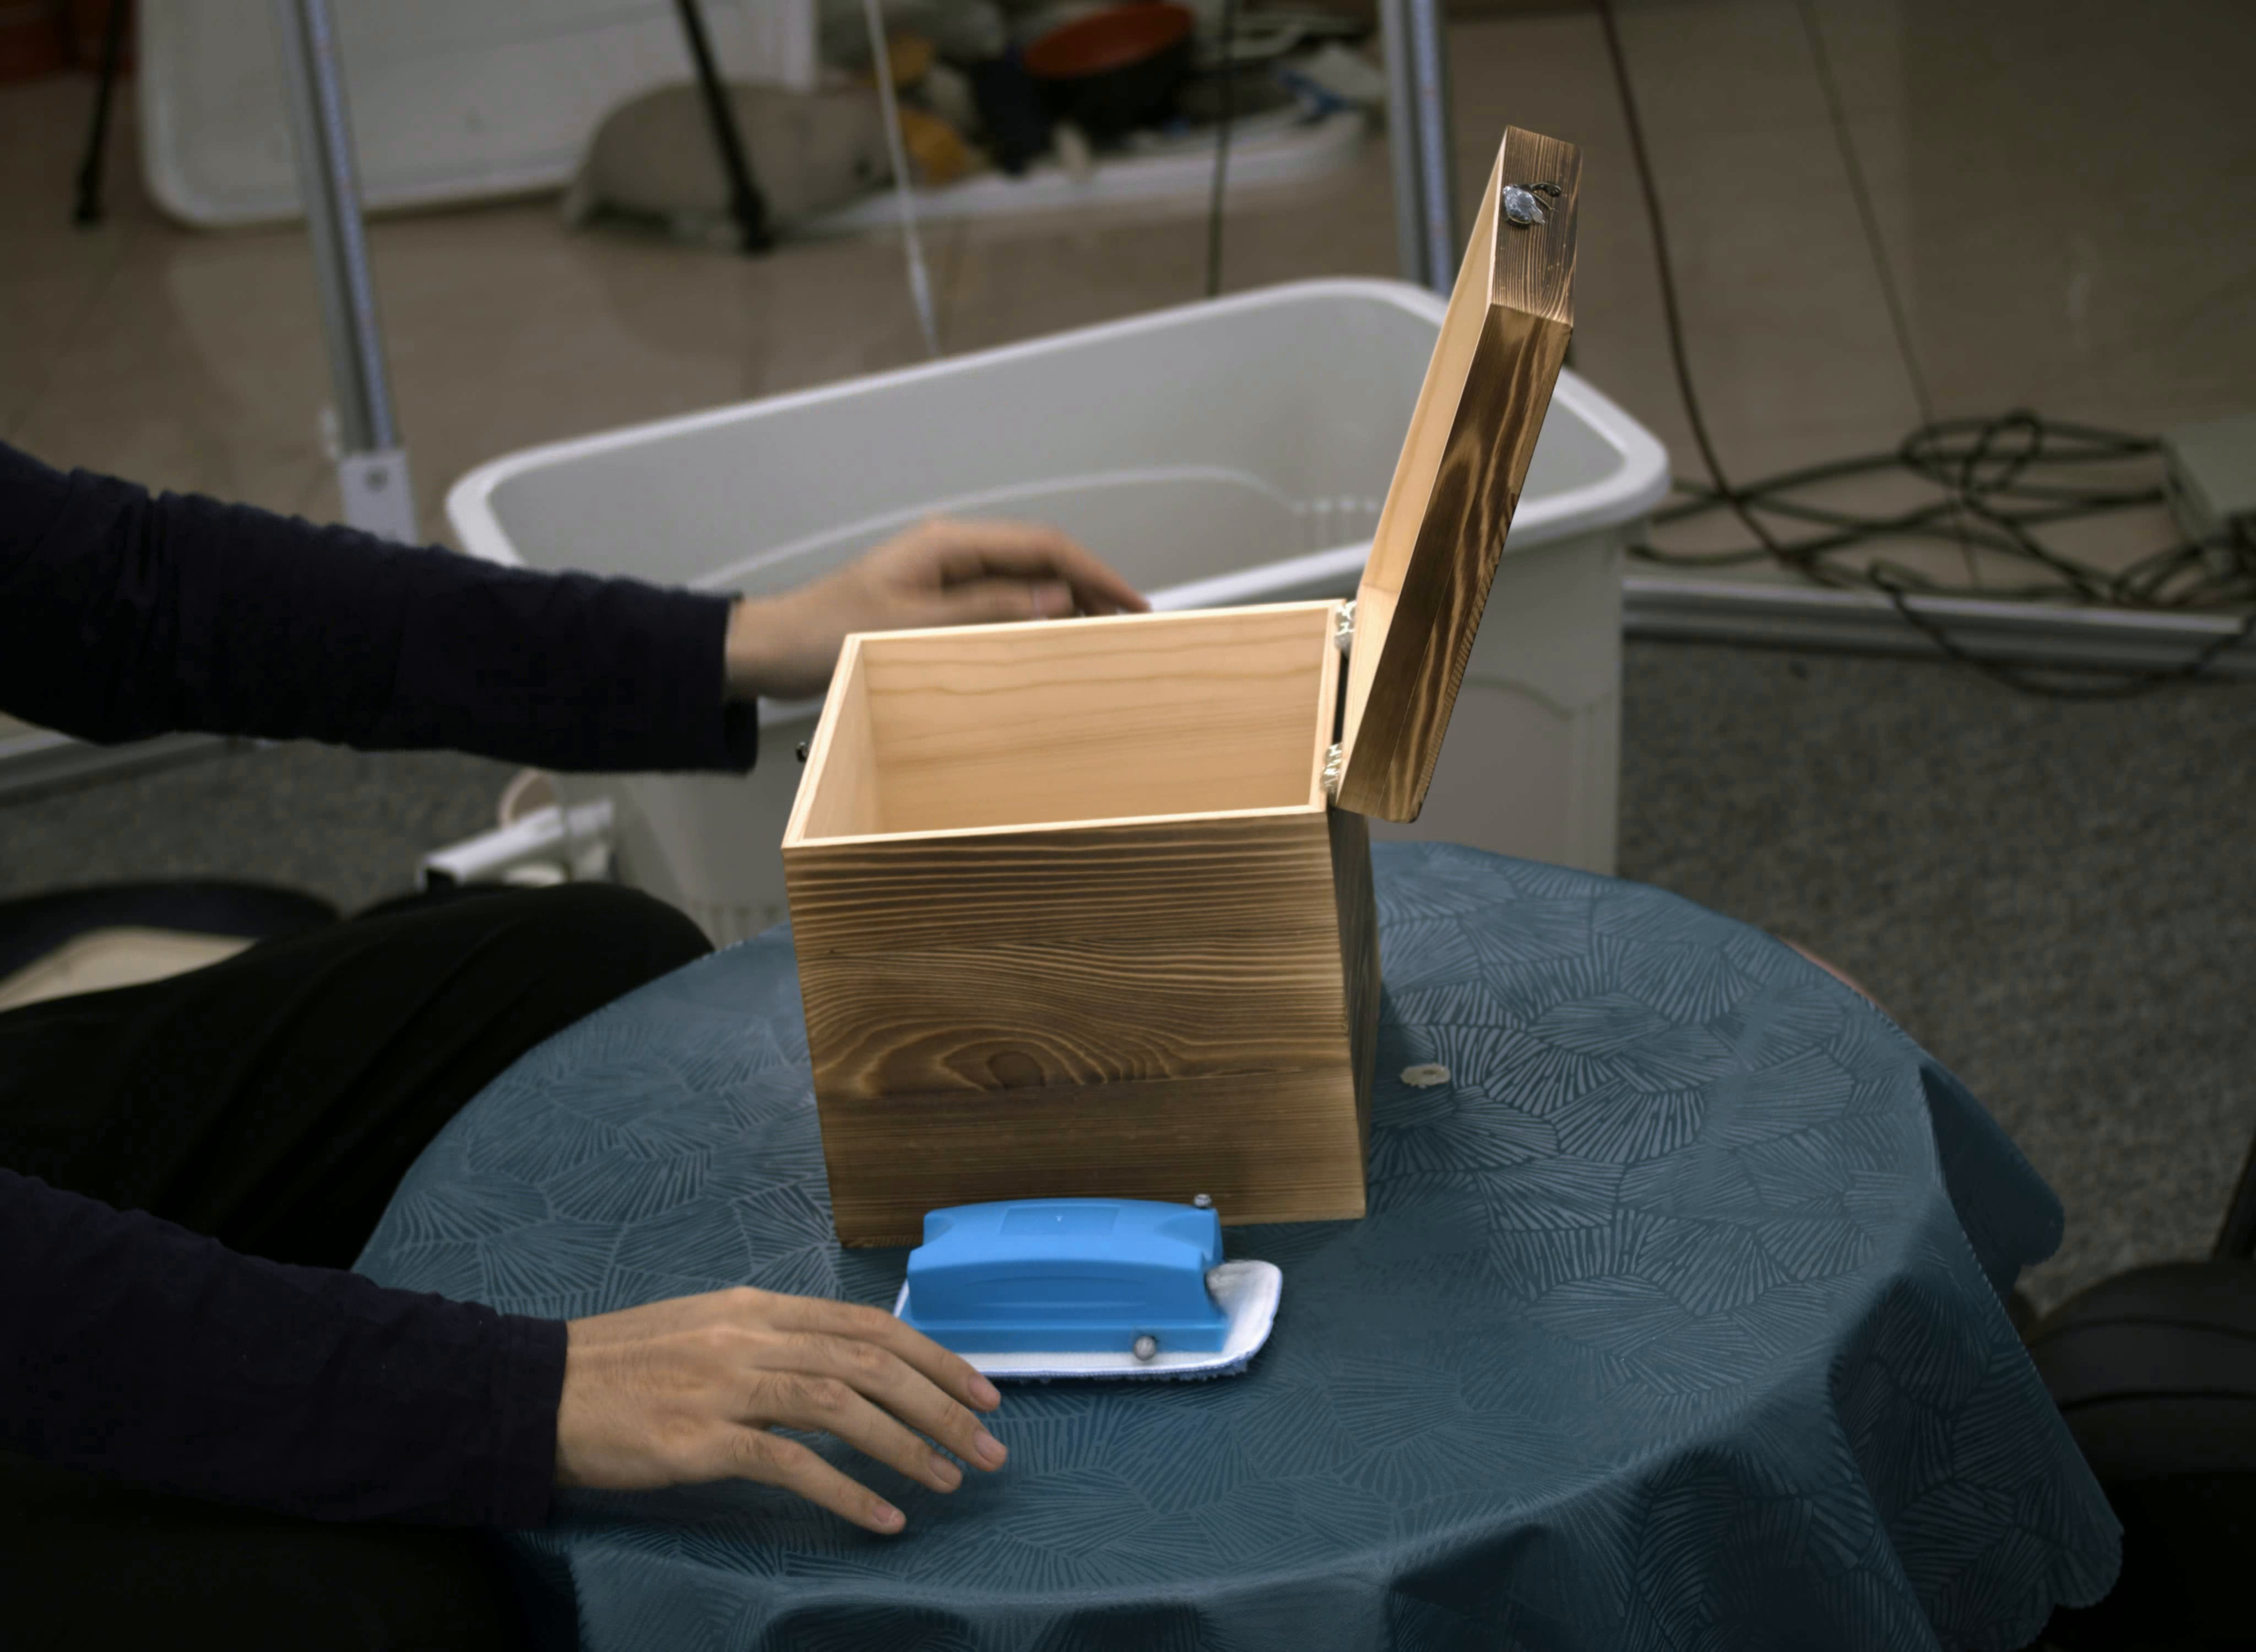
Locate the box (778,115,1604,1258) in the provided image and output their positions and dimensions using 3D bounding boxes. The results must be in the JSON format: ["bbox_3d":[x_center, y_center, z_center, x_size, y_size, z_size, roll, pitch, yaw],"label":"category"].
[{"bbox_3d":[0.029,-0.056,2.126,0.321,0.381,0.205,-4,25,6],"label":"box"}]

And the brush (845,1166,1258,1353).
[{"bbox_3d":[-0.027,0.154,2.030,0.143,0.057,0.083,3,23,9],"label":"brush"}]
